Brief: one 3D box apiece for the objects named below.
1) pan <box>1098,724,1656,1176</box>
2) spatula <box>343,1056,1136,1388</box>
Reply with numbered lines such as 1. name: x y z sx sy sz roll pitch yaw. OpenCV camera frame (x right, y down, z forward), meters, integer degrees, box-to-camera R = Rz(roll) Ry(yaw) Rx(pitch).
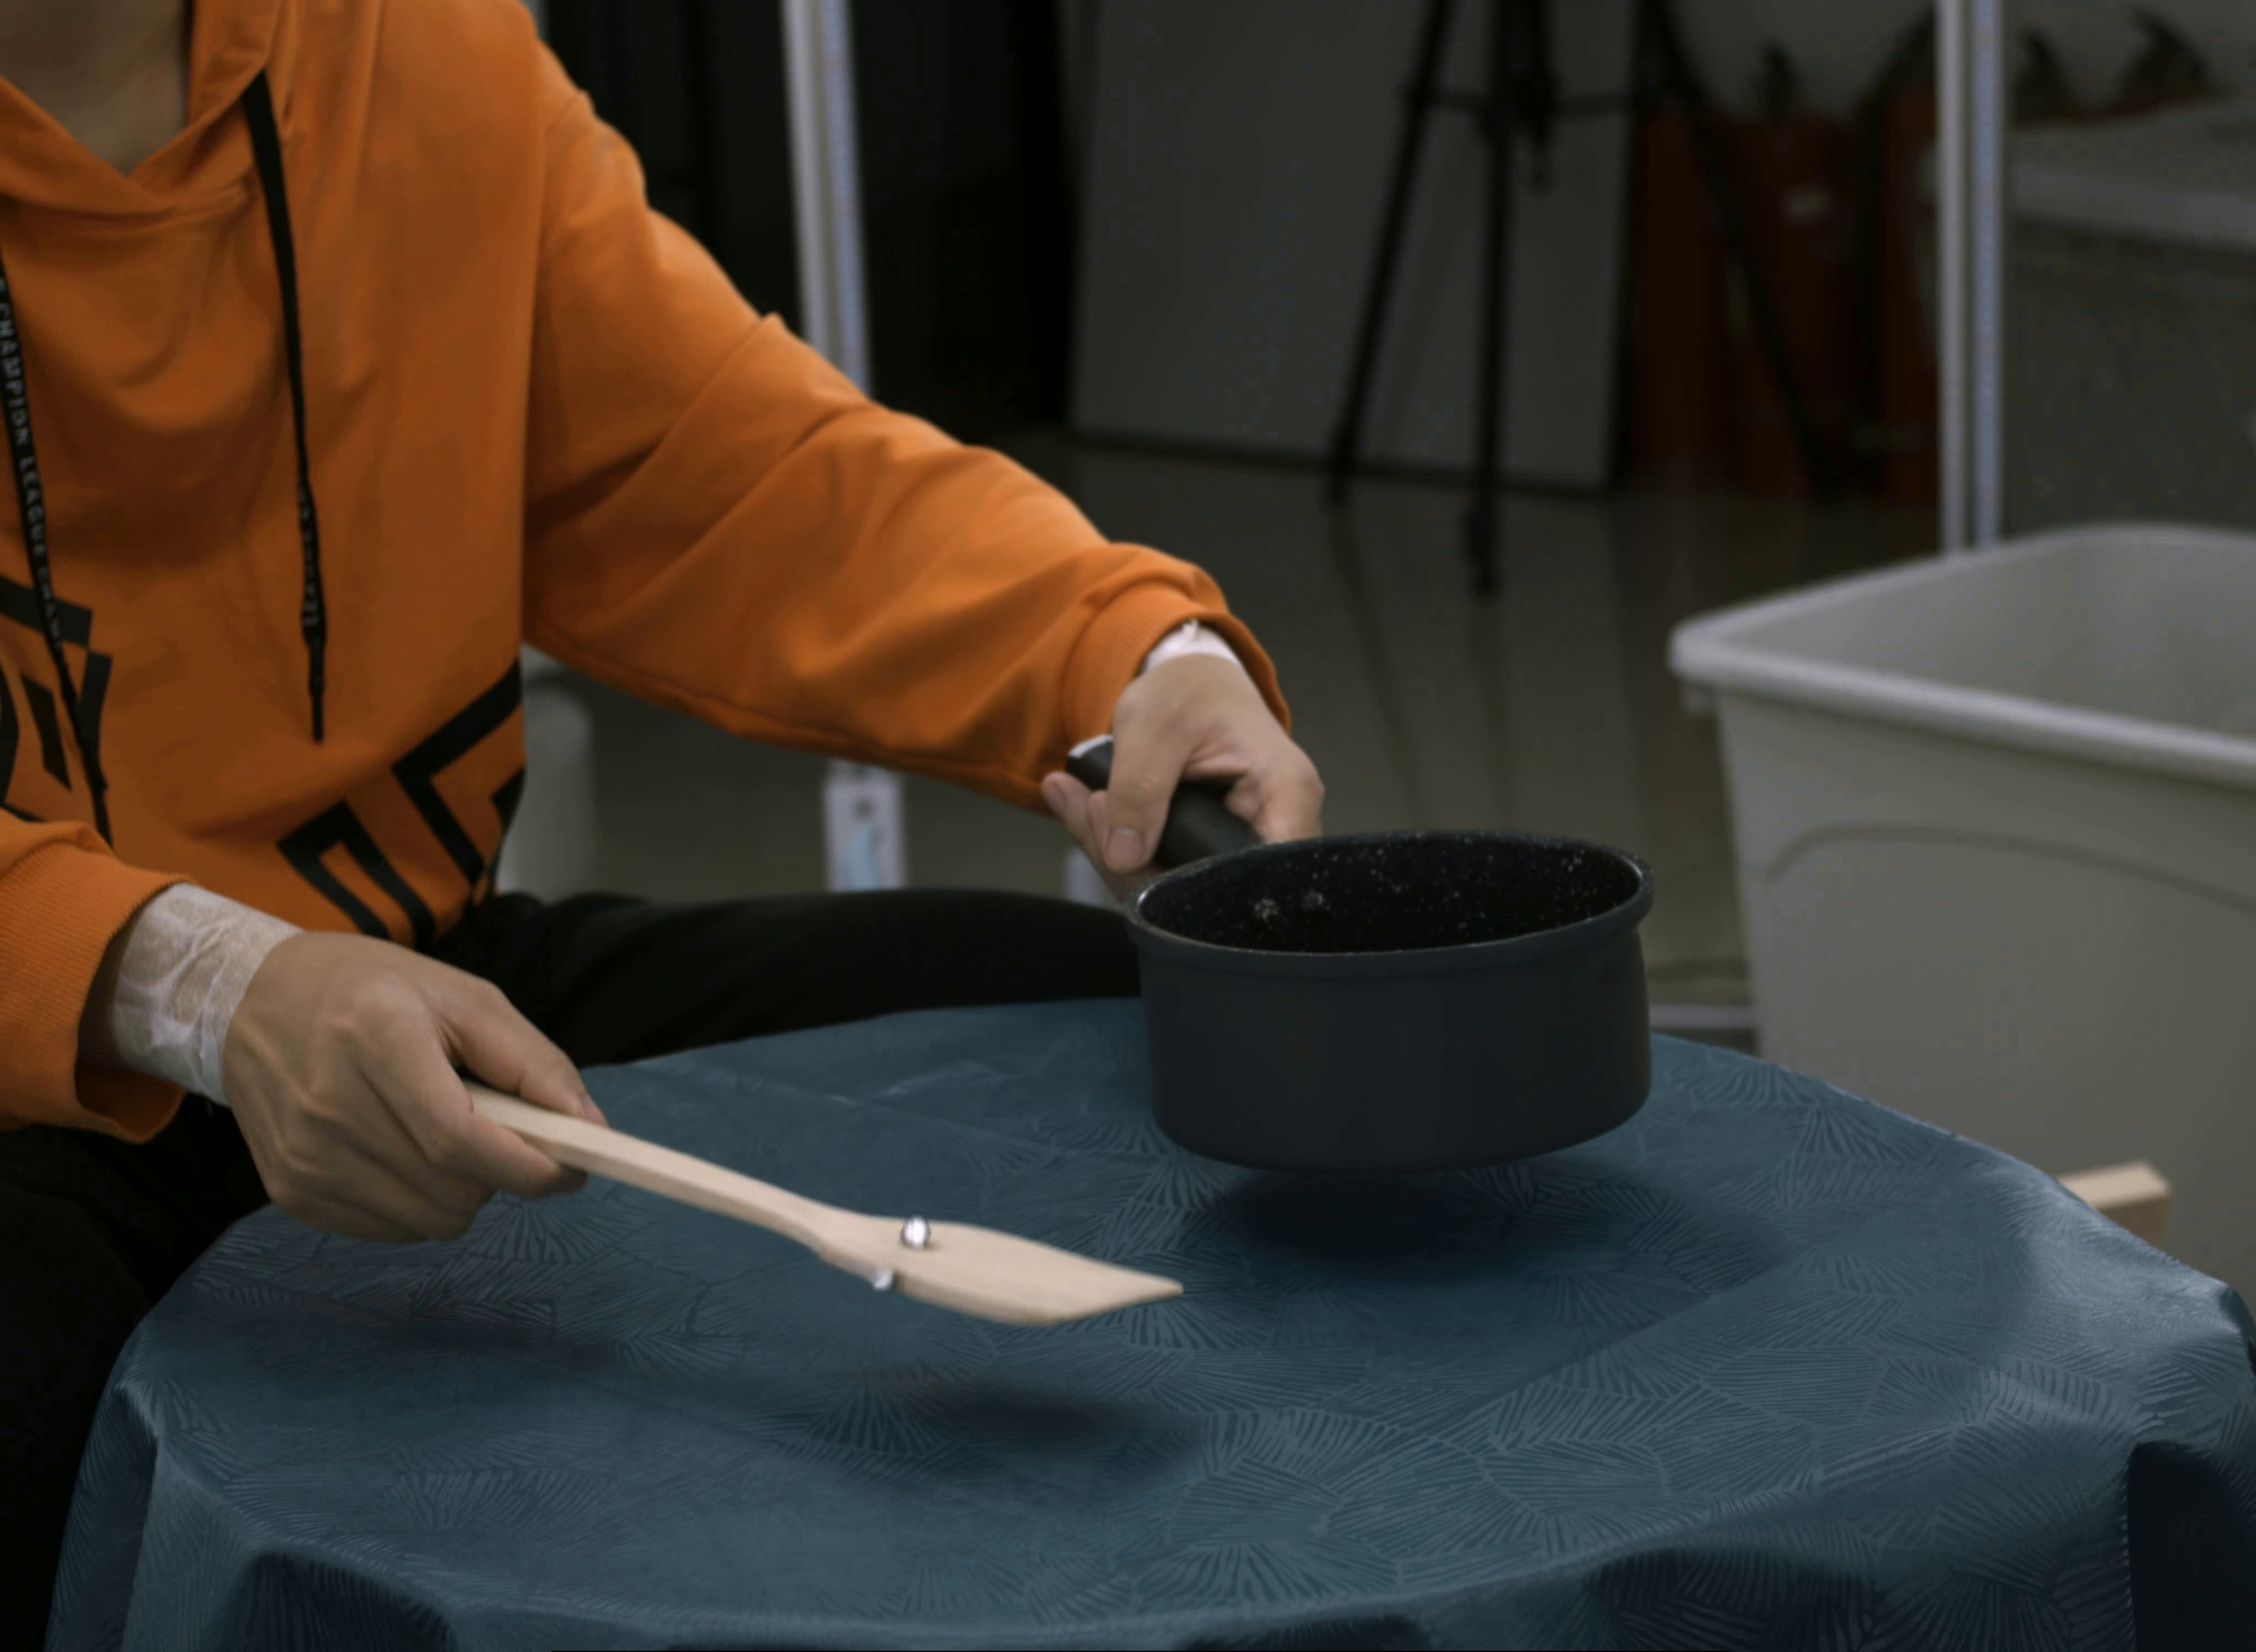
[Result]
1. pan: 0.058 0.037 1.796 0.168 0.087 0.331 -8 13 -18
2. spatula: -0.129 0.116 1.629 0.295 0.011 0.071 19 22 35
